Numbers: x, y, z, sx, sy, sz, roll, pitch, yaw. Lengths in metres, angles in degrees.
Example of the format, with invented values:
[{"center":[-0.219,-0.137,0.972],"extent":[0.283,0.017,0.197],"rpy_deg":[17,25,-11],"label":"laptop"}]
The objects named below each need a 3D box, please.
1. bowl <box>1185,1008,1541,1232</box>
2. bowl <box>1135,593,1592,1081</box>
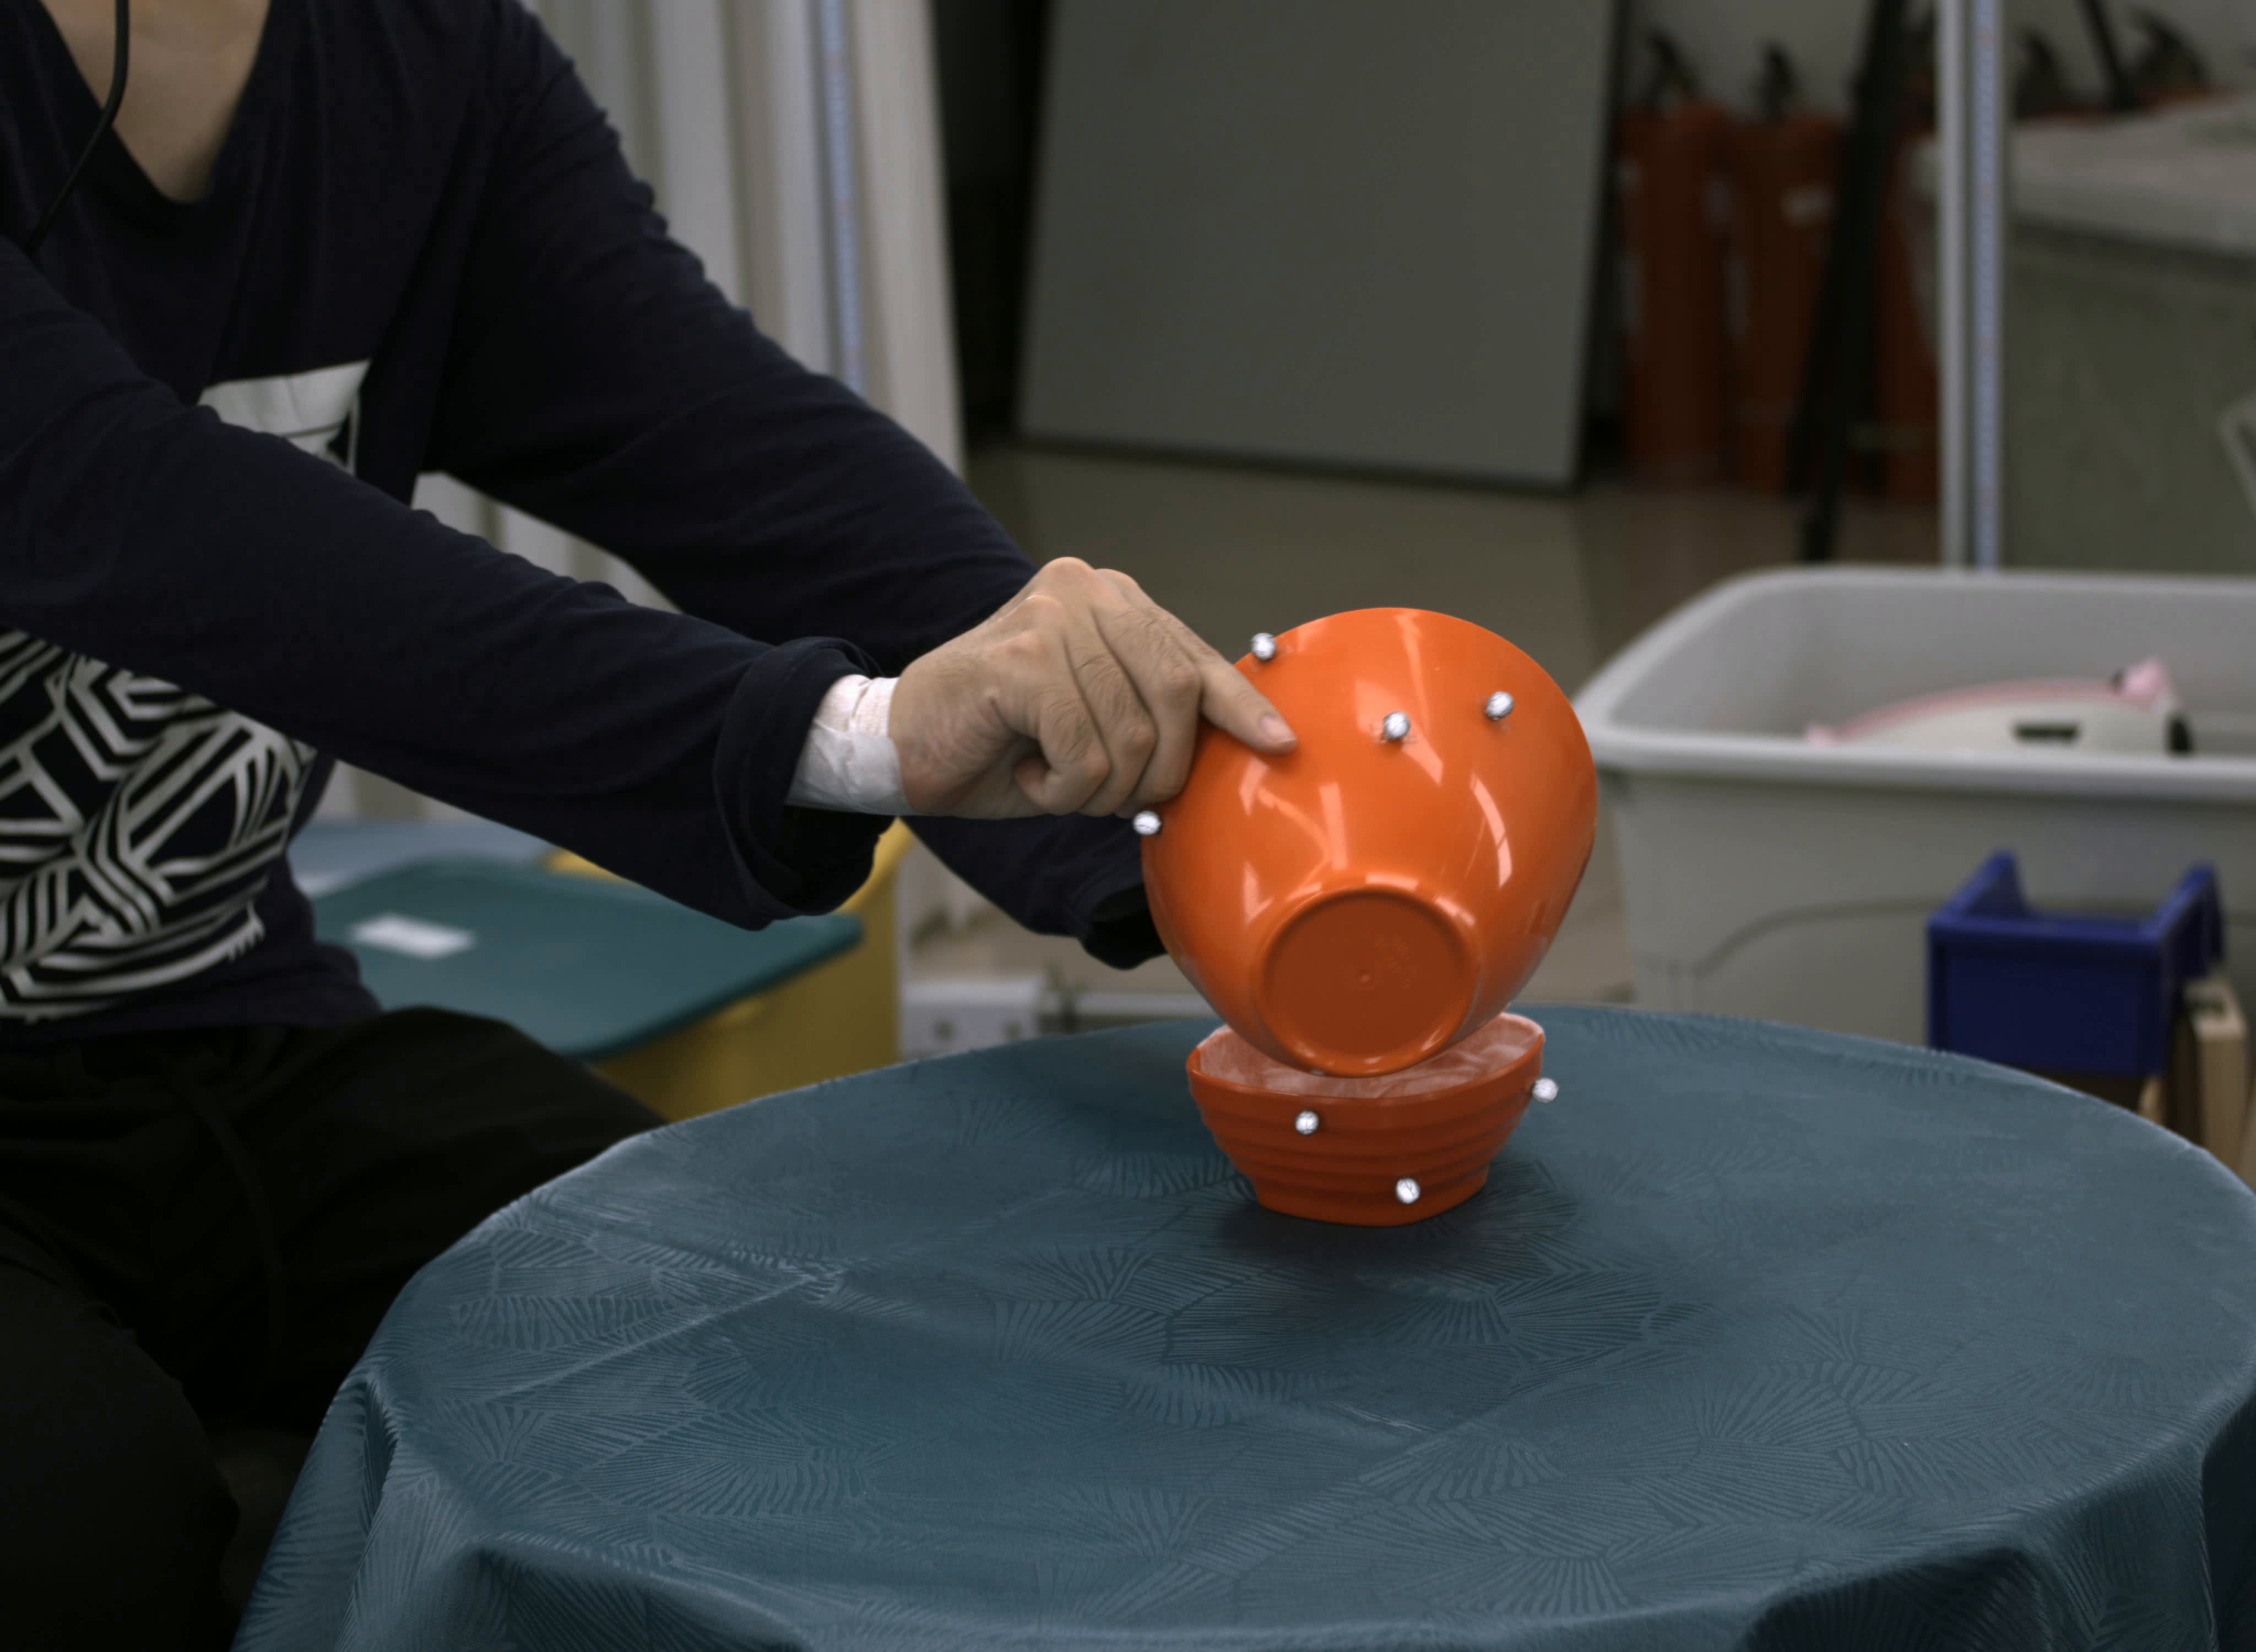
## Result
[{"center":[0.078,0.096,1.751],"extent":[0.117,0.052,0.119],"rpy_deg":[-6,14,0],"label":"bowl"},{"center":[0.076,0.017,1.645],"extent":[0.146,0.149,0.105],"rpy_deg":[-4,27,-2],"label":"bowl"}]
